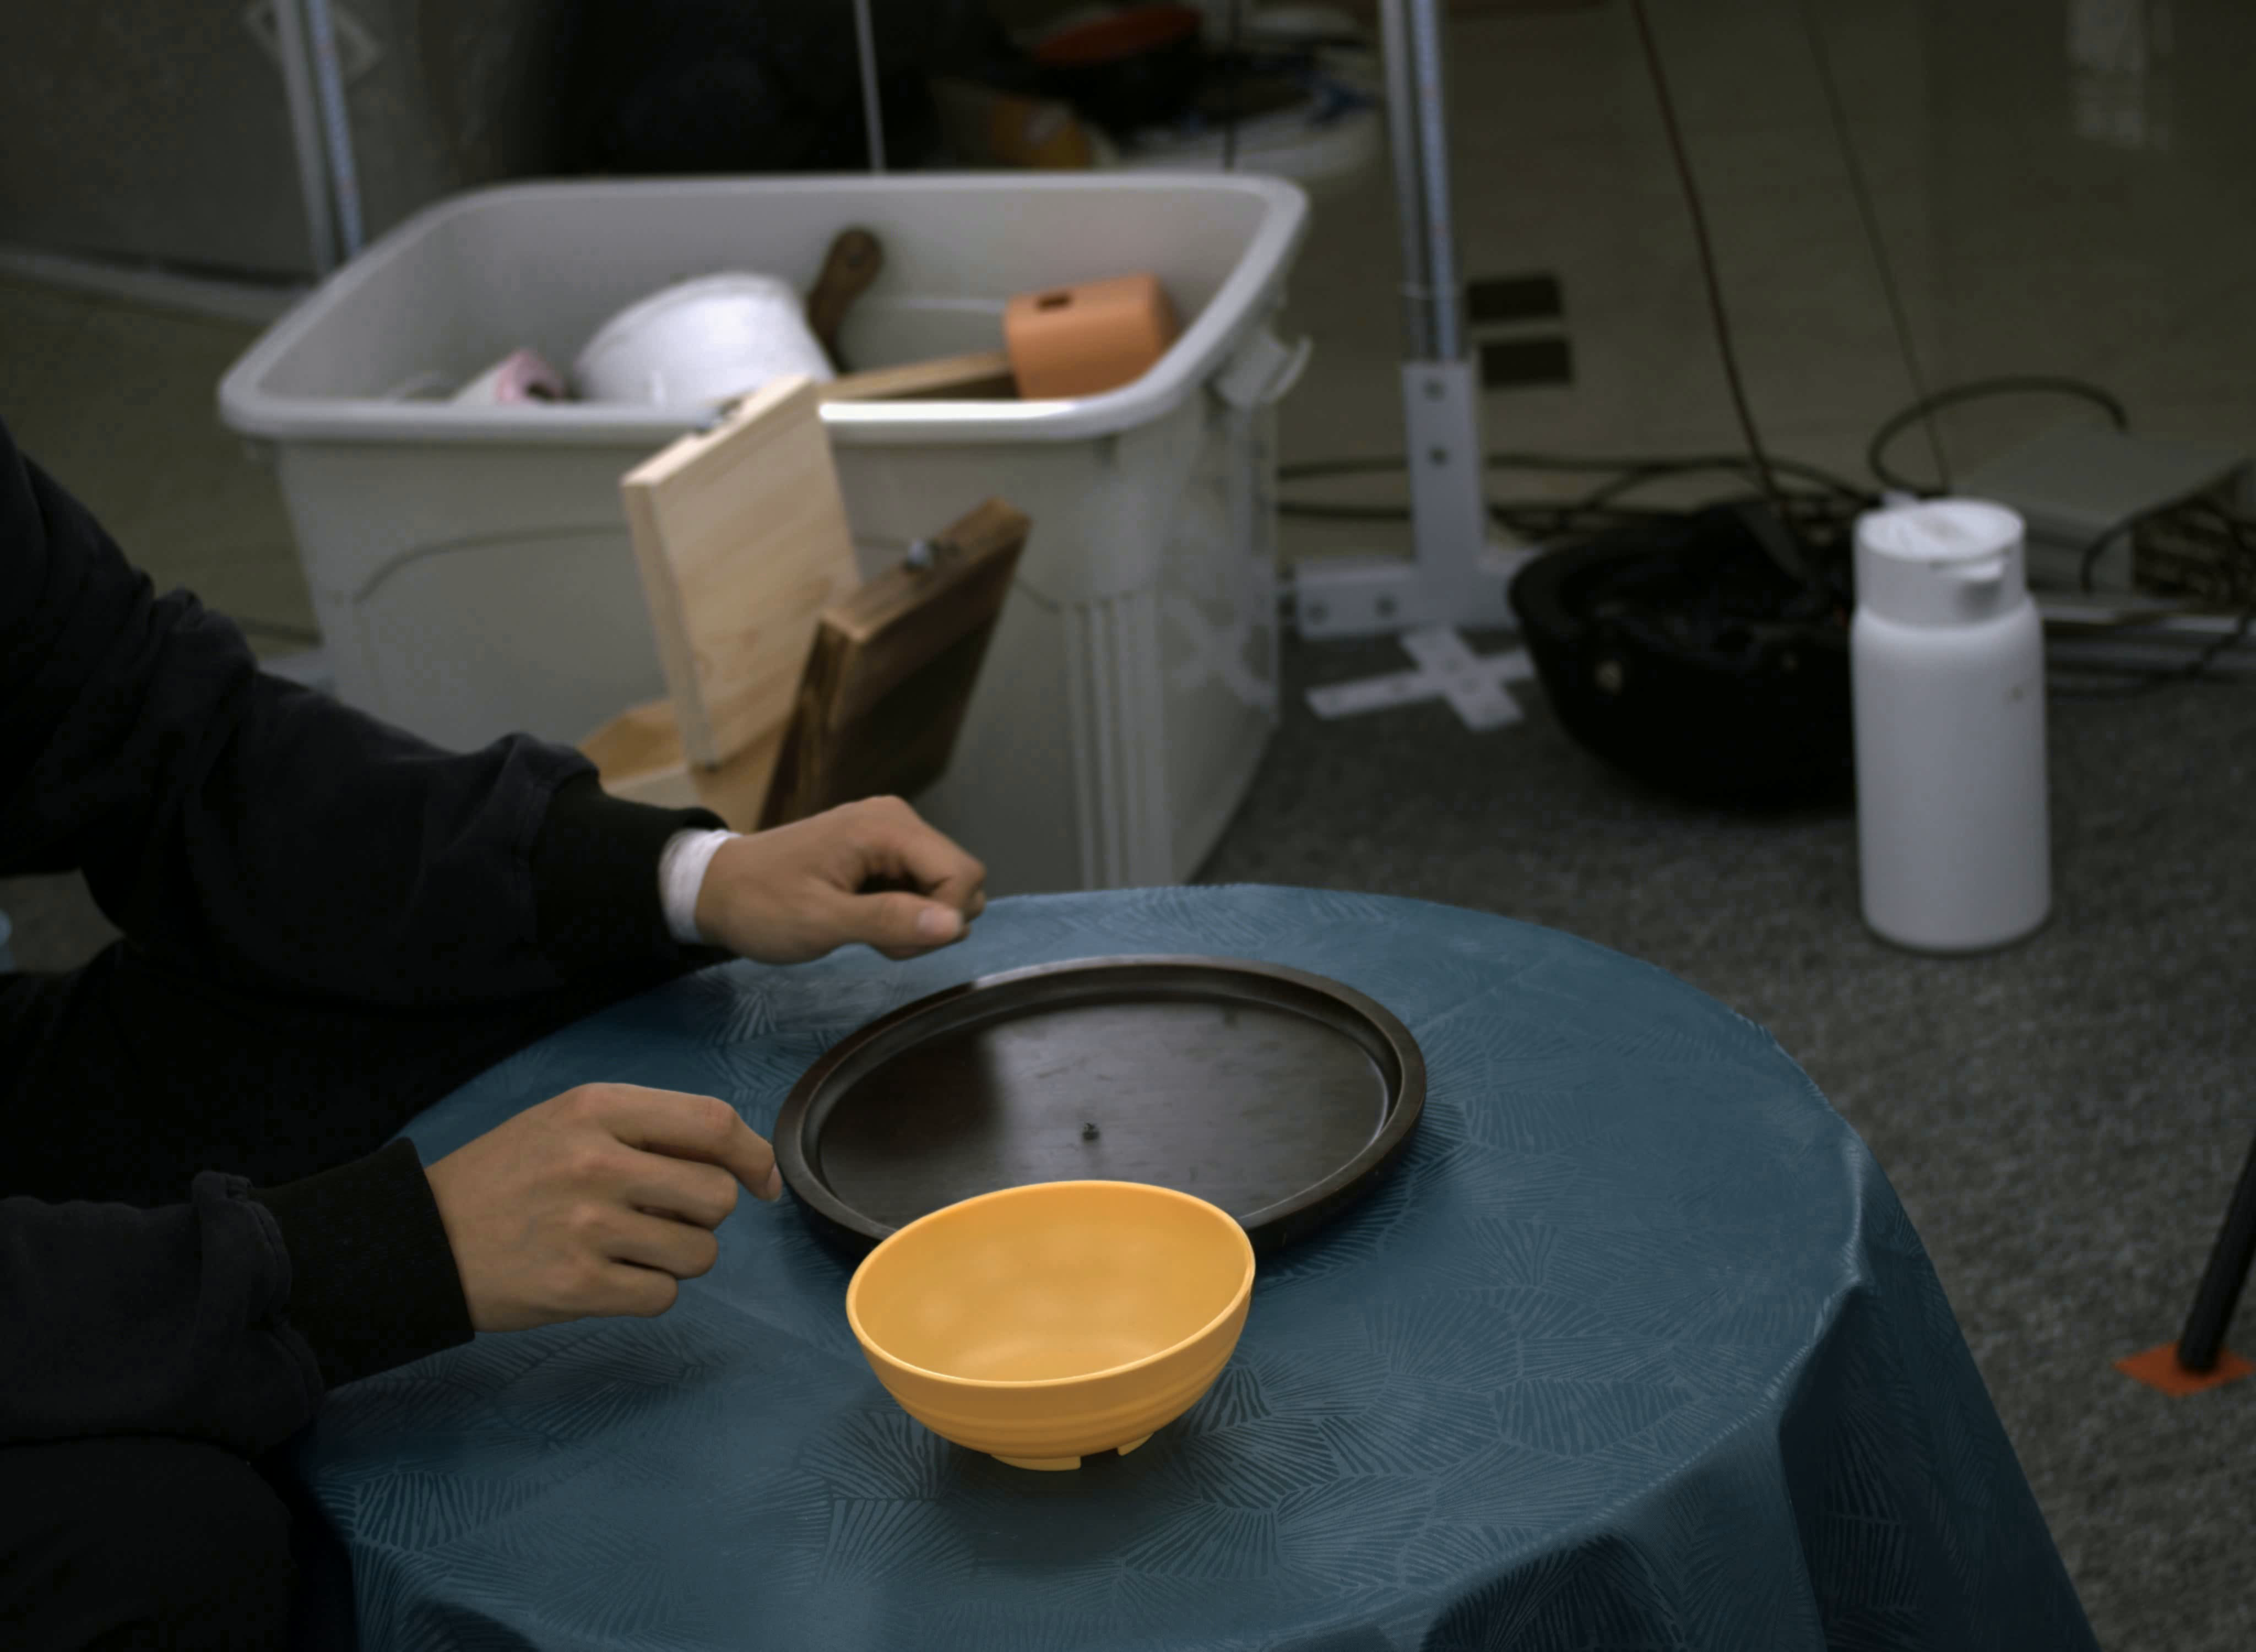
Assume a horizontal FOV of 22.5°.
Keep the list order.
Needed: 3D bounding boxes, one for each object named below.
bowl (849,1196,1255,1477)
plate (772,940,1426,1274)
[{"bbox_3d":[-0.023,0.187,1.990,0.145,0.061,0.143,-7,23,3],"label":"bowl"},{"bbox_3d":[-0.010,0.115,2.181,0.254,0.029,0.251,-6,26,3],"label":"plate"}]
